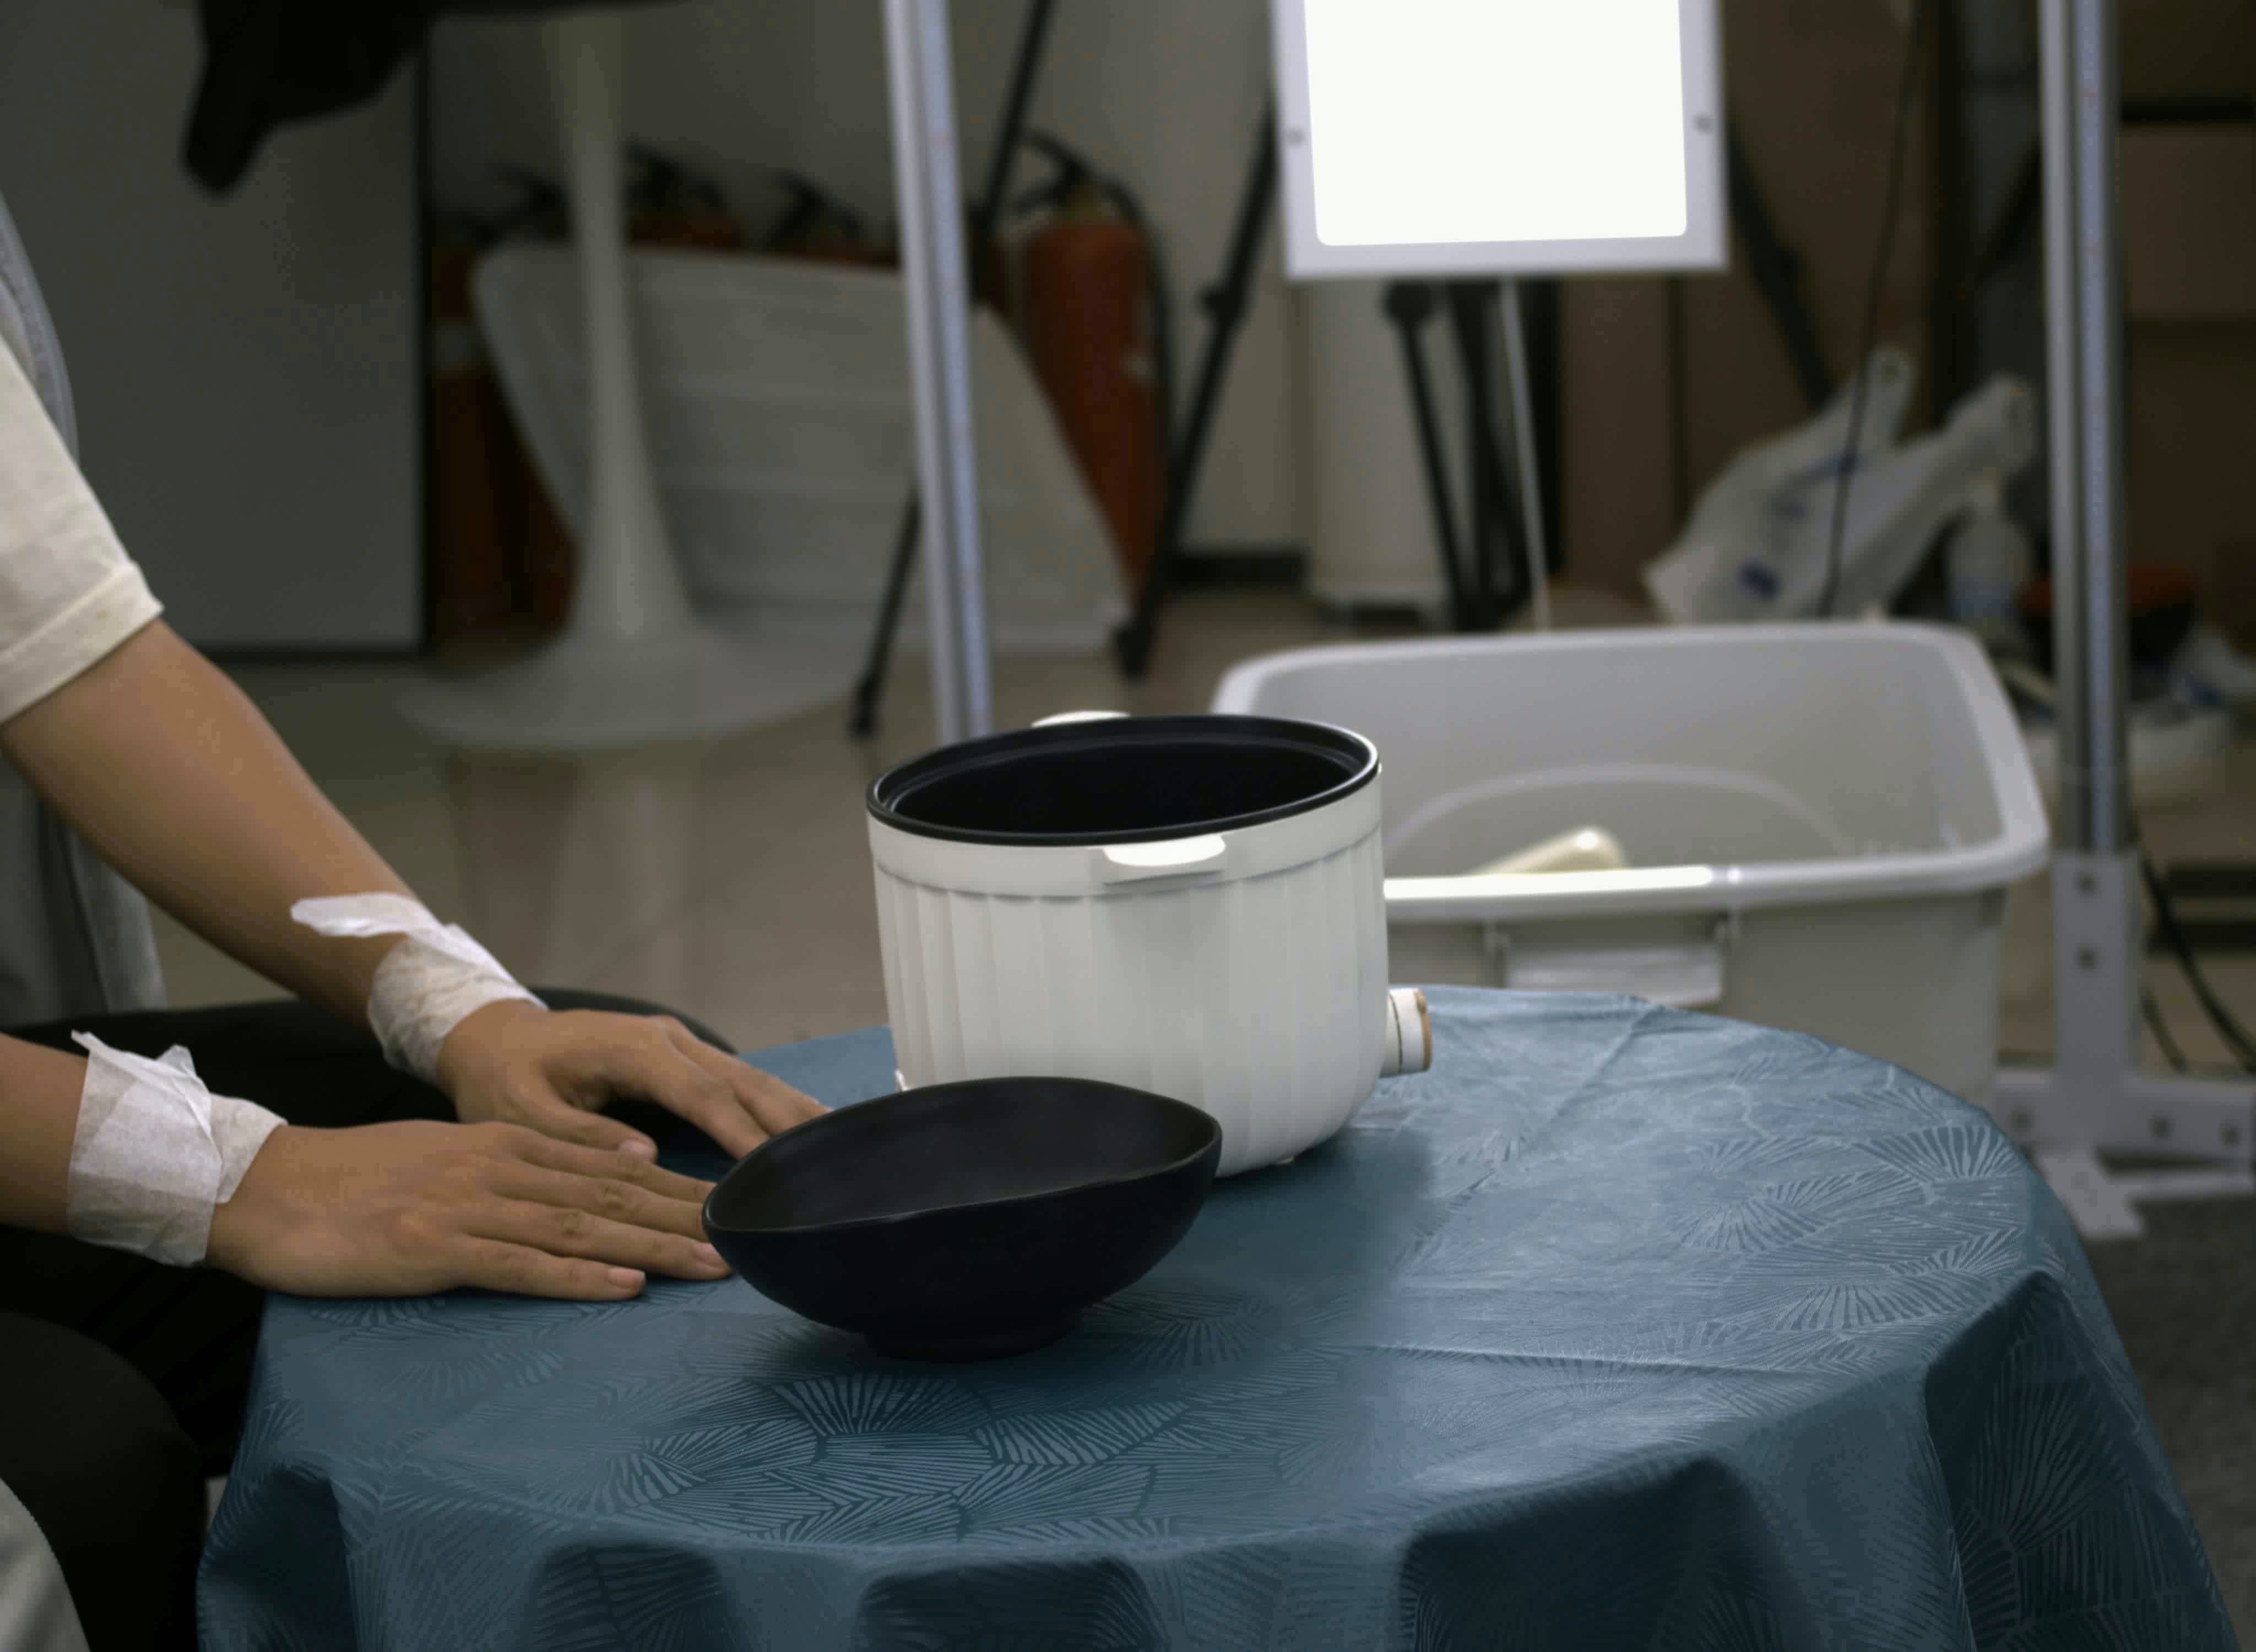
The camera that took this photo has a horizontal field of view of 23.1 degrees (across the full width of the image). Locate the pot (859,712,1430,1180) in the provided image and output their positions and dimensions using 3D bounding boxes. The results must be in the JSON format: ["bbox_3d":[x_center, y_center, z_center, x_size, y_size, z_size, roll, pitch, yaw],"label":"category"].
[{"bbox_3d":[0.007,0.044,1.939,0.189,0.143,0.241,-10,15,-6],"label":"pot"}]

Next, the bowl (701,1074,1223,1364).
[{"bbox_3d":[-0.050,0.131,1.762,0.168,0.067,0.138,-9,13,-12],"label":"bowl"}]
